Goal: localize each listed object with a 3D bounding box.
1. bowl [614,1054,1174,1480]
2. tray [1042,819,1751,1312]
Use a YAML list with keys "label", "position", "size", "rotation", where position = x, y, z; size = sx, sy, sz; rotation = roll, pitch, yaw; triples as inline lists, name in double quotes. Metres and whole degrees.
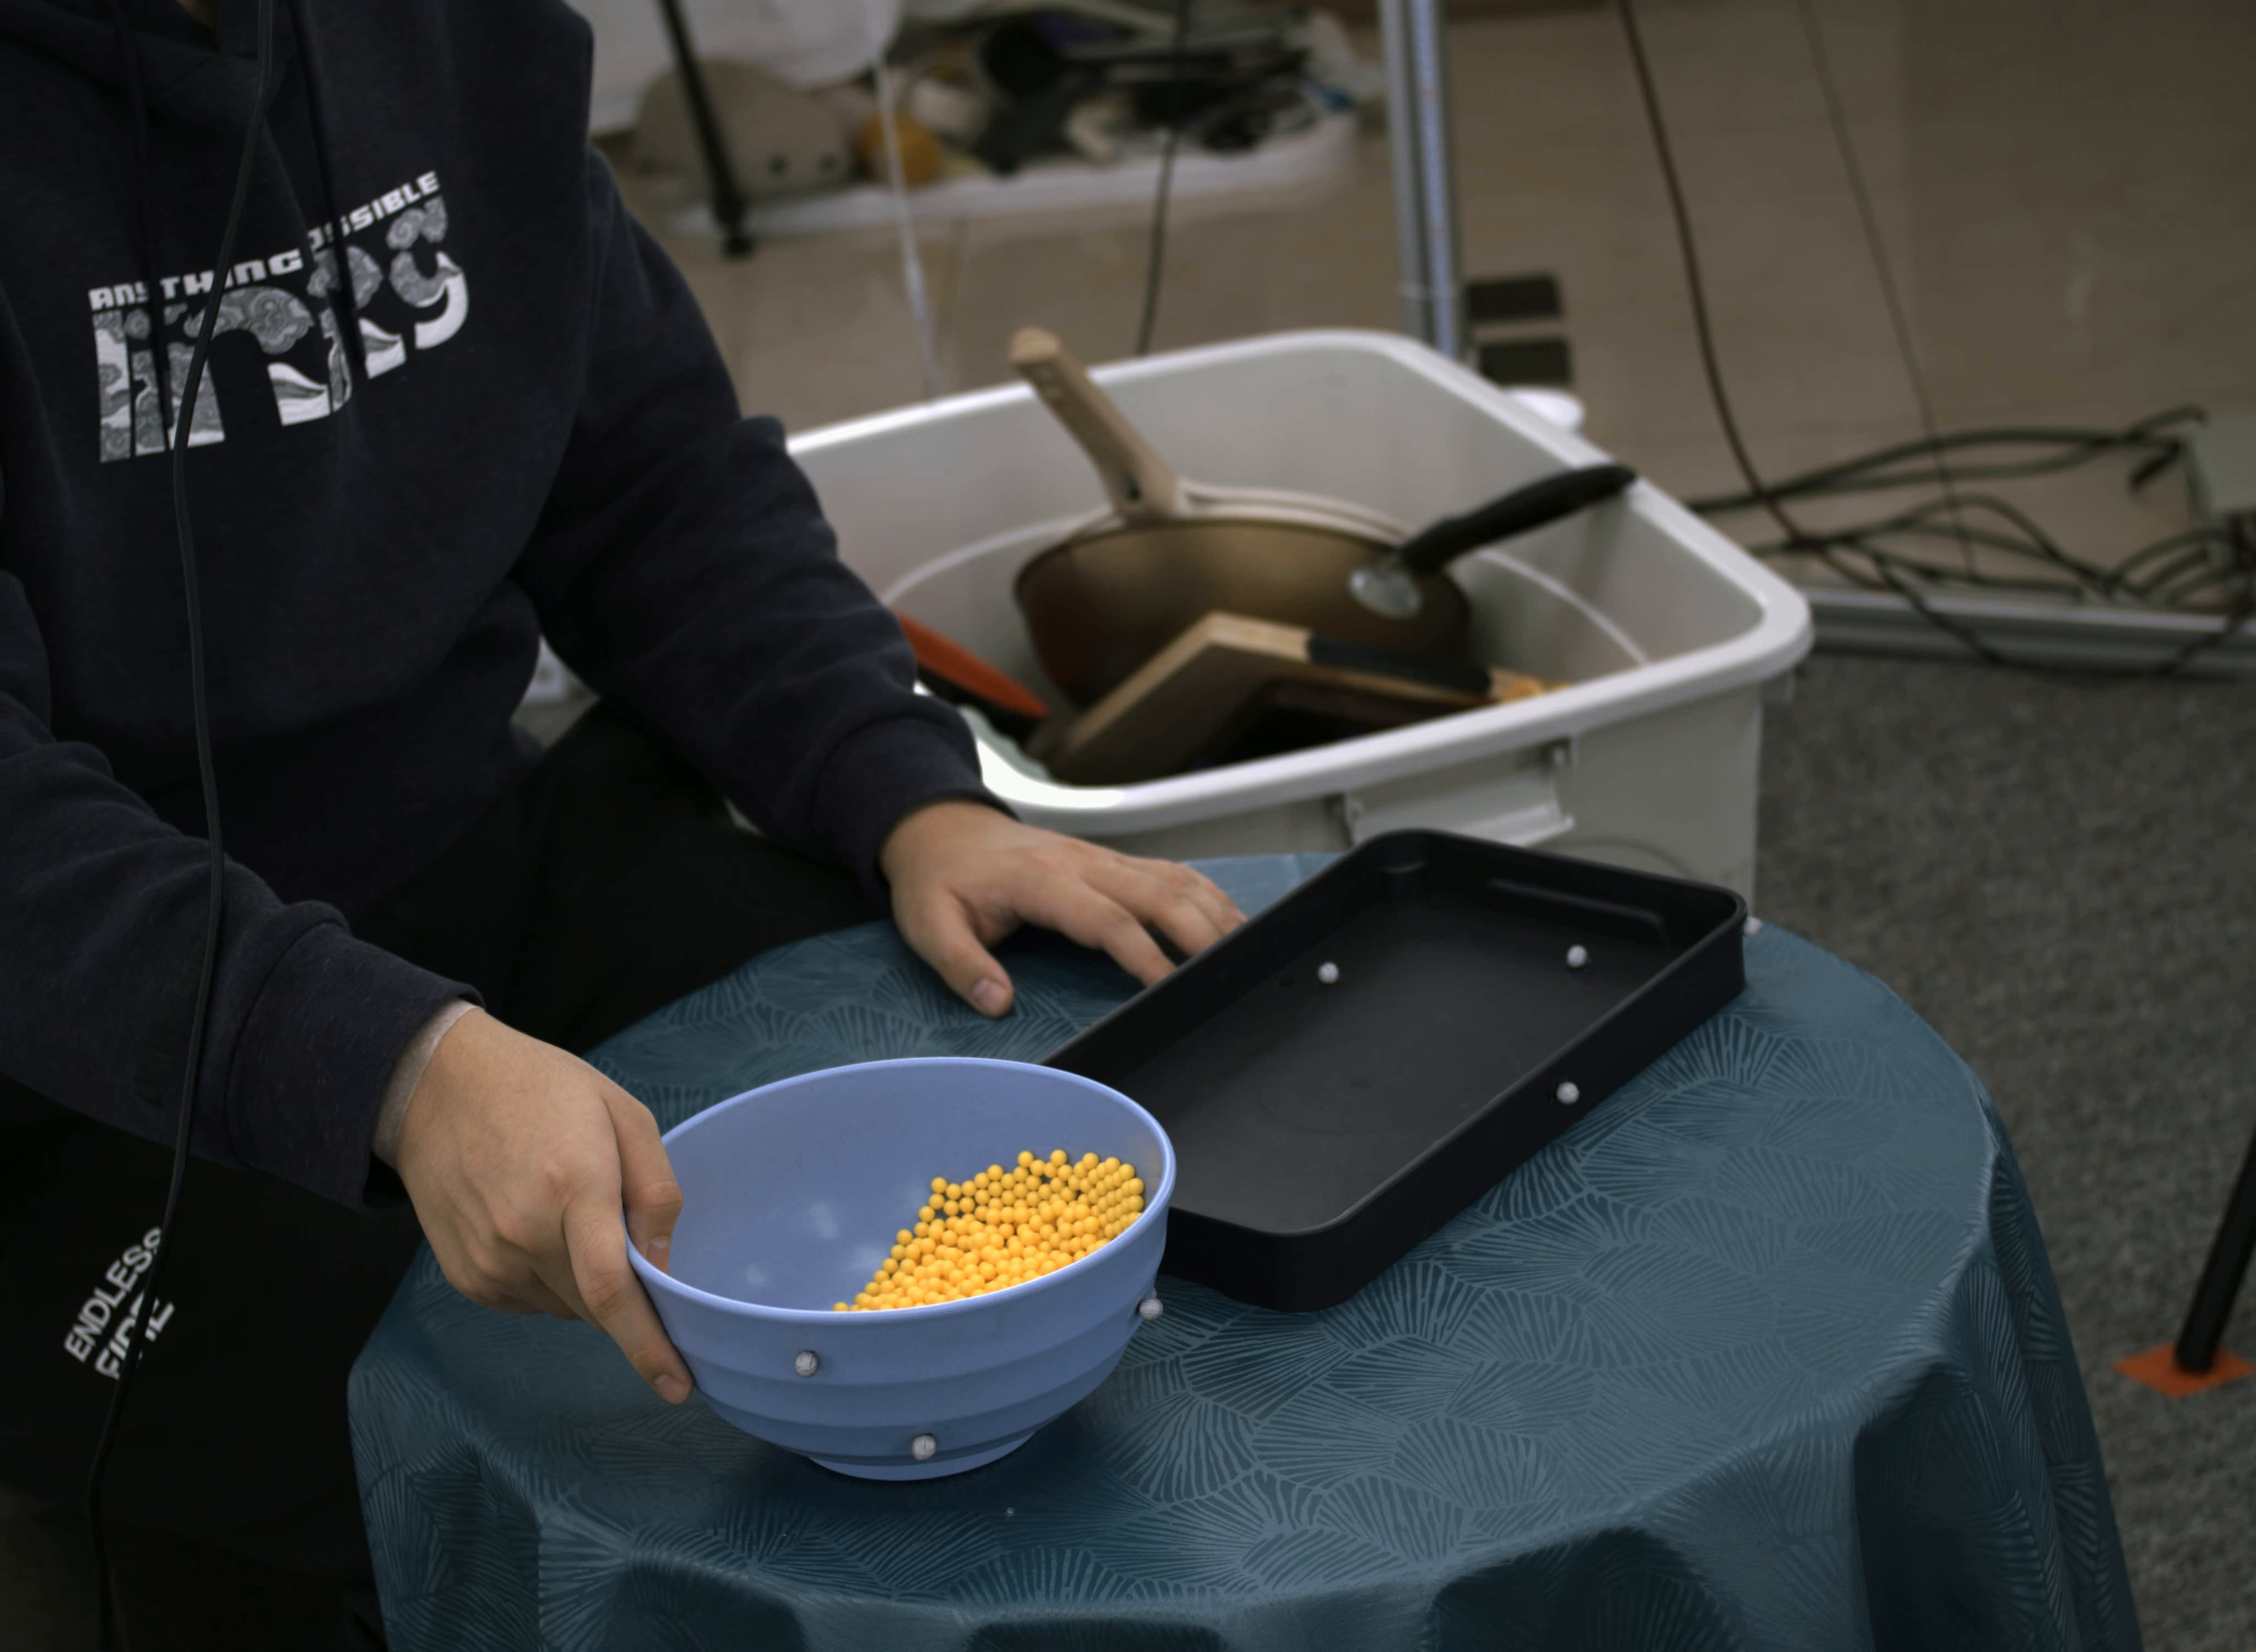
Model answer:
- label: "bowl"
  position: [-0.077, 0.166, 1.992]
  size: [0.196, 0.097, 0.193]
  rotation: [-5, 25, 2]
- label: "tray"
  position: [0.093, 0.087, 2.199]
  size: [0.183, 0.037, 0.314]
  rotation: [11, 31, 35]
